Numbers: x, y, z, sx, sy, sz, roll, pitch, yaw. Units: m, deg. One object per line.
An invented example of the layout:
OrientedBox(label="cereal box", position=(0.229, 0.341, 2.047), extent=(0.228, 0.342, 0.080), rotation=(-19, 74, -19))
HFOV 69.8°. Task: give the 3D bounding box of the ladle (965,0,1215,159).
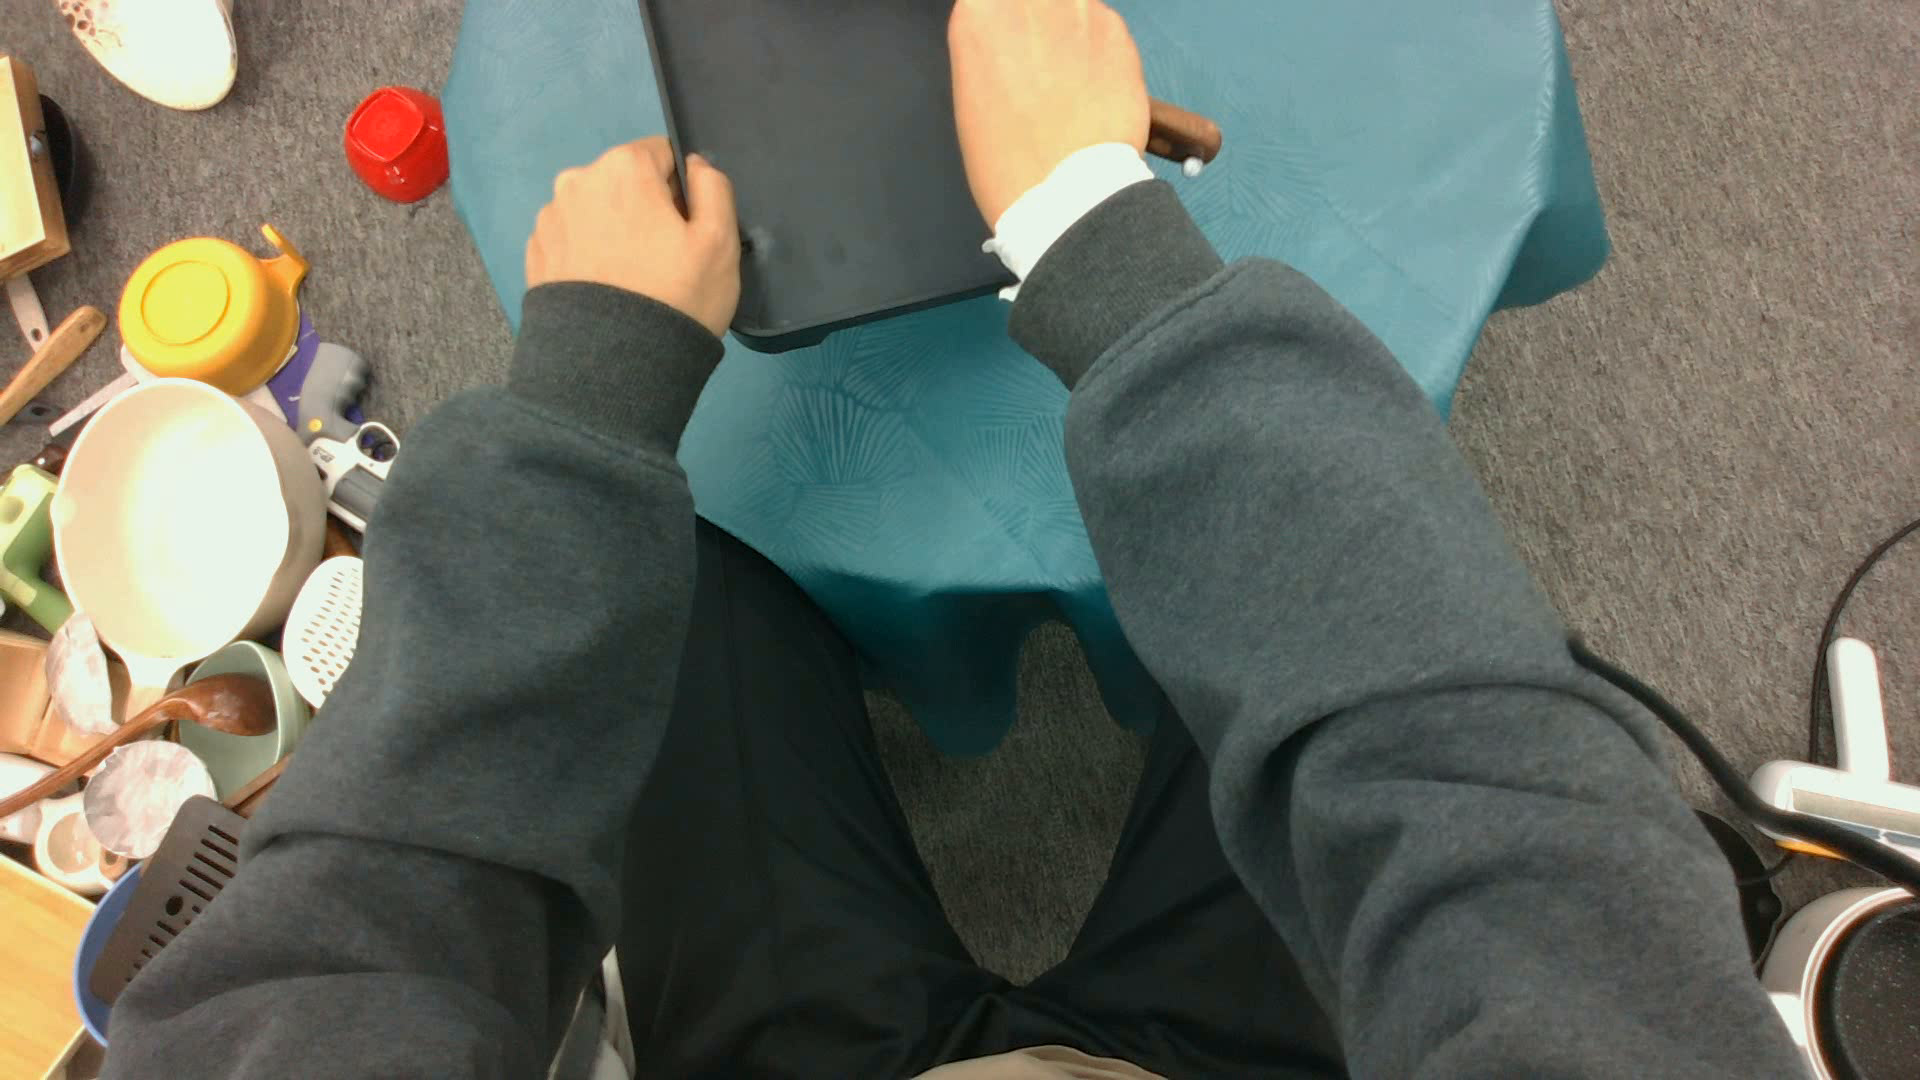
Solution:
OrientedBox(label="ladle", position=(-0.005, -0.233, 0.601), extent=(0.260, 0.076, 0.065), rotation=(43, 84, 11))

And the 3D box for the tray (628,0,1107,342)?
OrientedBox(label="tray", position=(-0.061, -0.257, 0.635), extent=(0.184, 0.037, 0.318), rotation=(-14, 80, -6))
